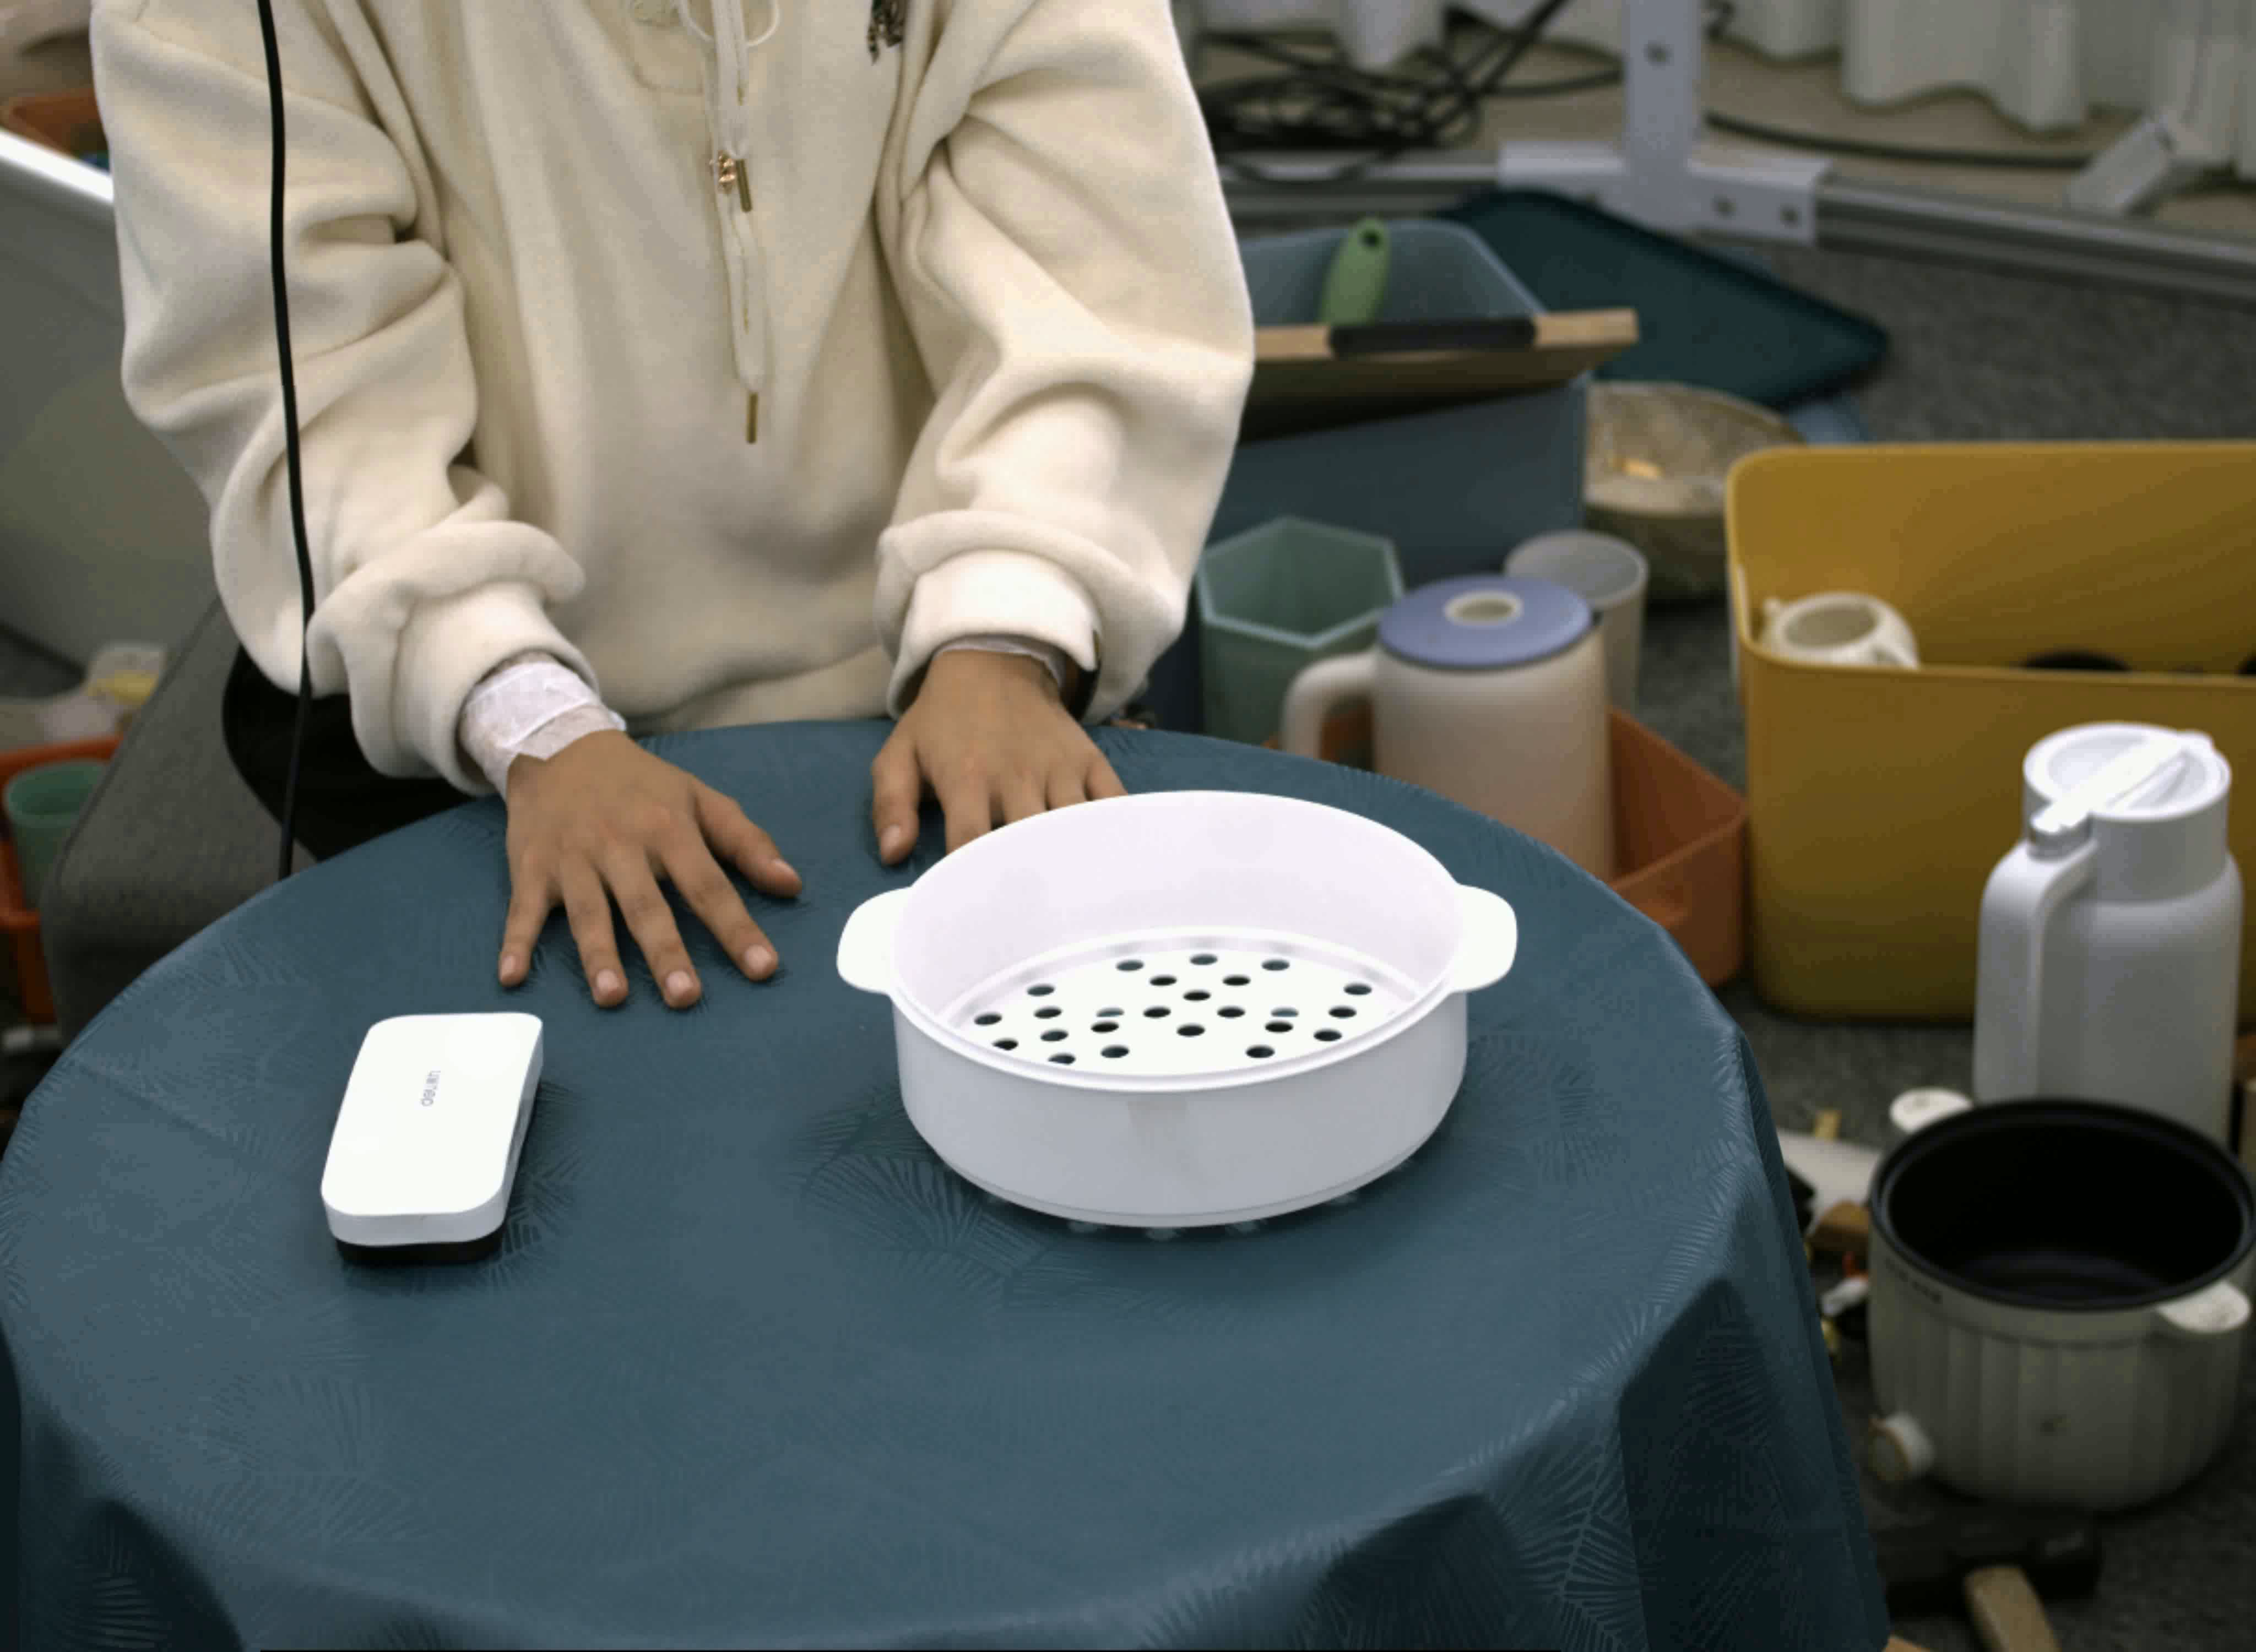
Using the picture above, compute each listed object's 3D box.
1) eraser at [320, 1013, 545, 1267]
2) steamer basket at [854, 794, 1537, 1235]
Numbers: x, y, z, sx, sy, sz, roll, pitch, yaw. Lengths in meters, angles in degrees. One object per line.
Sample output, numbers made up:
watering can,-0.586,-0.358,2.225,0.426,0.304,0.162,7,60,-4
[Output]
eraser,-0.231,0.102,1.889,0.063,0.034,0.133,-1,28,4
steamer basket,0.023,0.063,1.900,0.229,0.068,0.205,1,27,5
